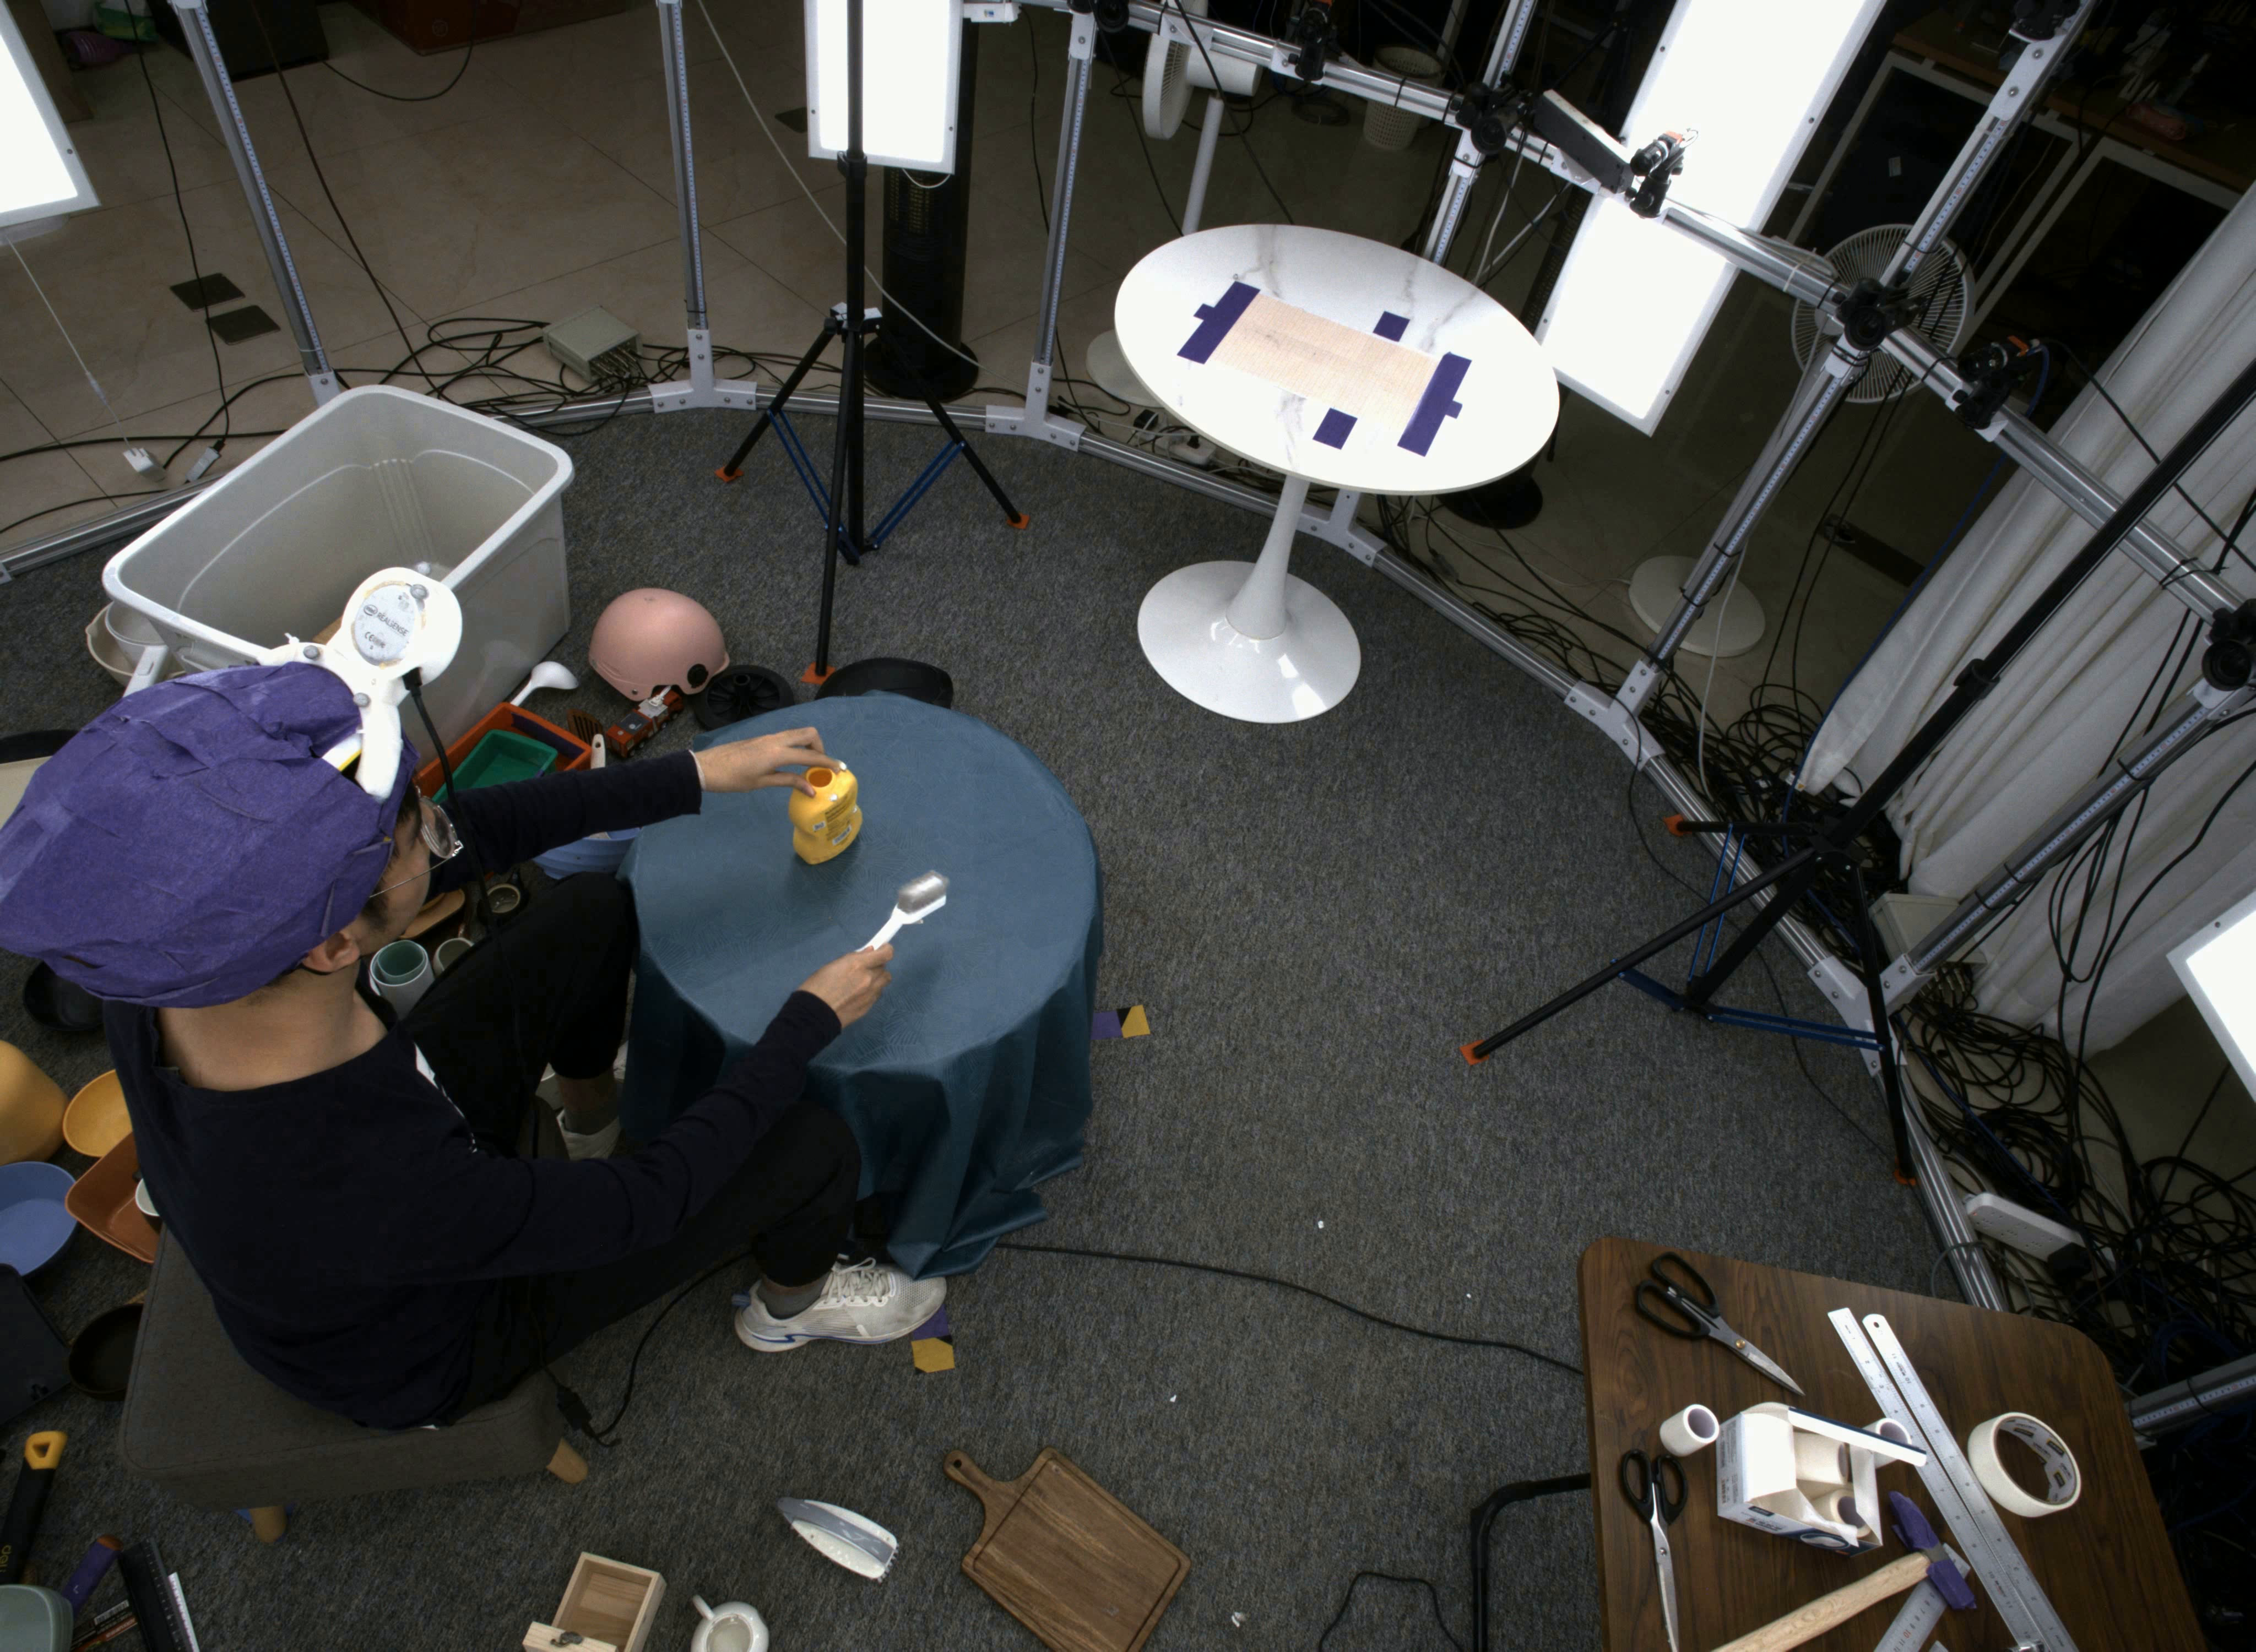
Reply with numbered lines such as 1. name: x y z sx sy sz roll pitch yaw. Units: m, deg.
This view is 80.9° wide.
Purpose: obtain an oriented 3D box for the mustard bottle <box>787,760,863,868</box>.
1. mustard bottle: -0.384 -0.023 1.633 0.058 0.175 0.098 33 65 12

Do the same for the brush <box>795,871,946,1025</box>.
1. brush: -0.305 0.136 1.533 0.033 0.052 0.243 26 55 33
